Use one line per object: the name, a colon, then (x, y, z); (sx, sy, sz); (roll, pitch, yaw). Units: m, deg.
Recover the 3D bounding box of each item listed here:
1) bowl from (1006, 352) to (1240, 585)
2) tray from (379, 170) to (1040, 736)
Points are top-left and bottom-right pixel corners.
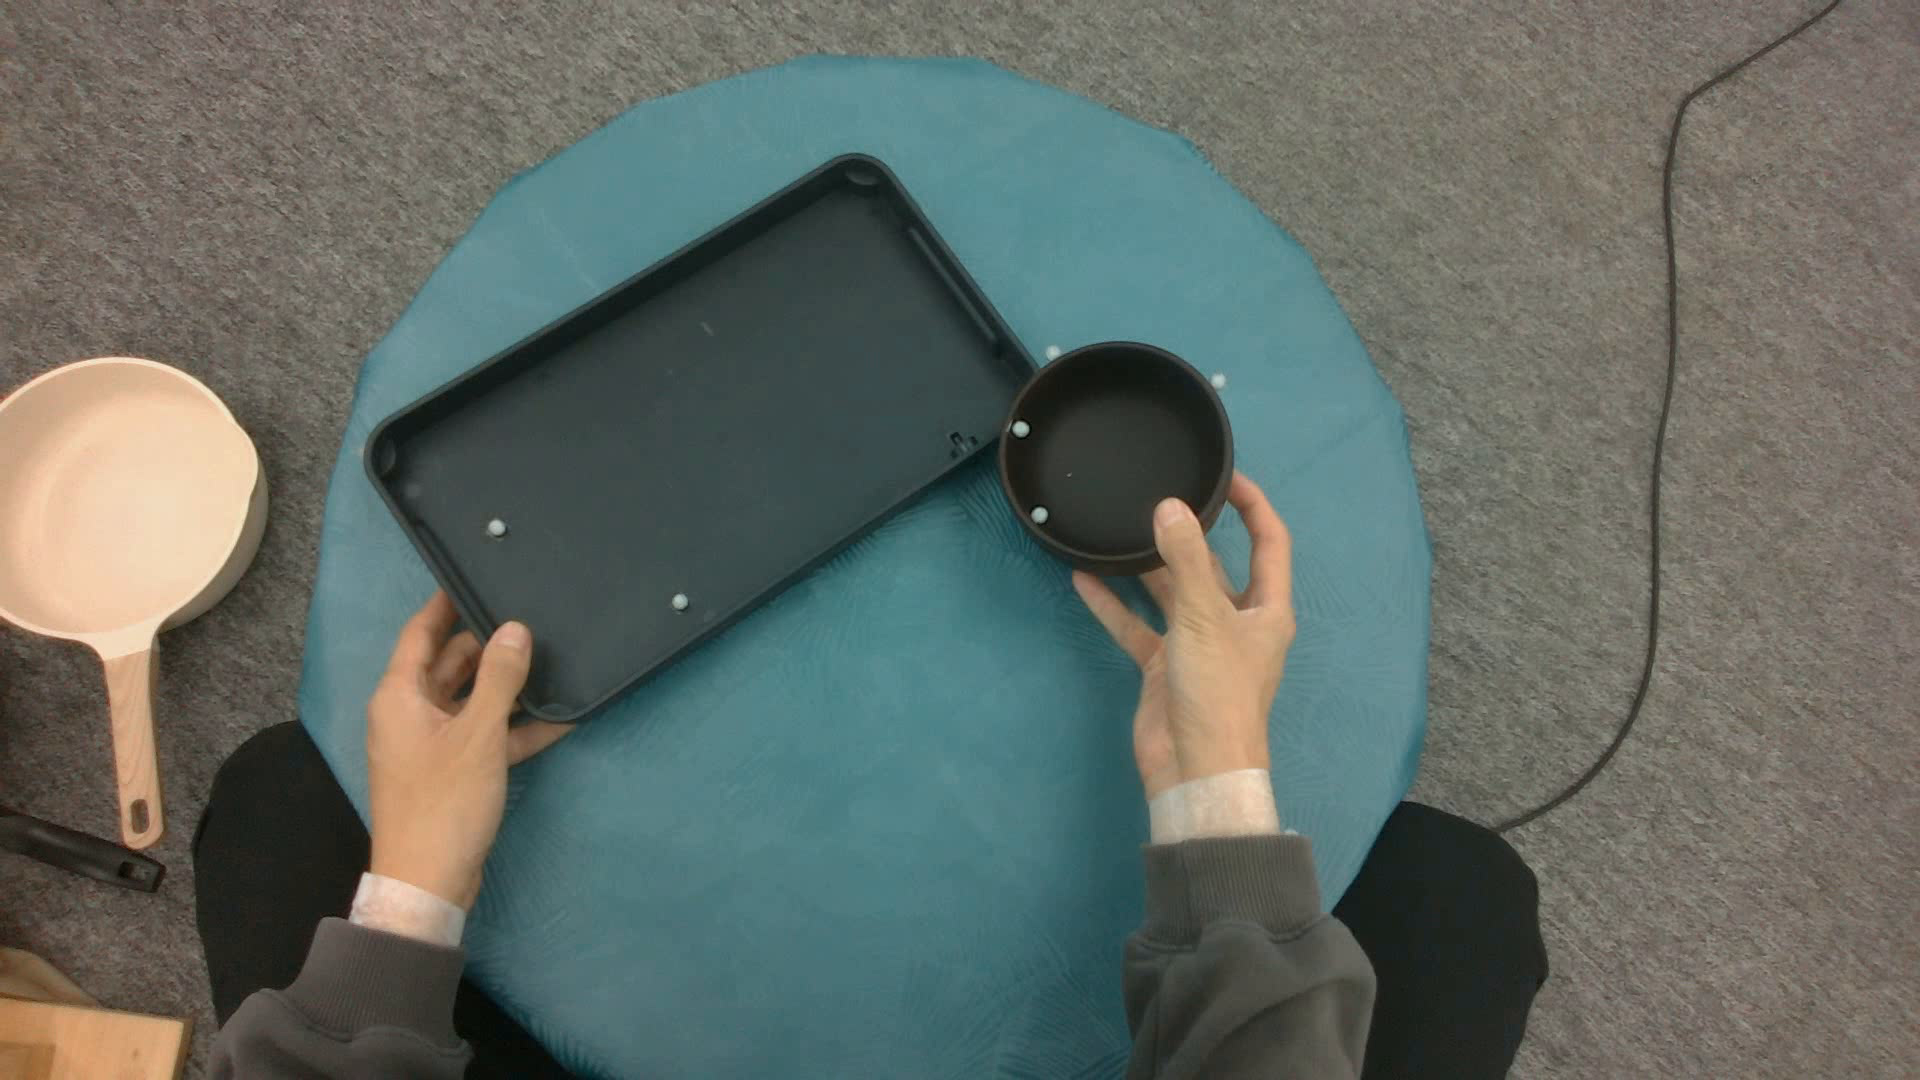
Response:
bowl: (0.084, -0.033, 0.715); (0.118, 0.070, 0.118); (-1, 76, 5)
tray: (-0.128, -0.052, 0.745); (0.319, 0.037, 0.184); (-36, 82, -14)
